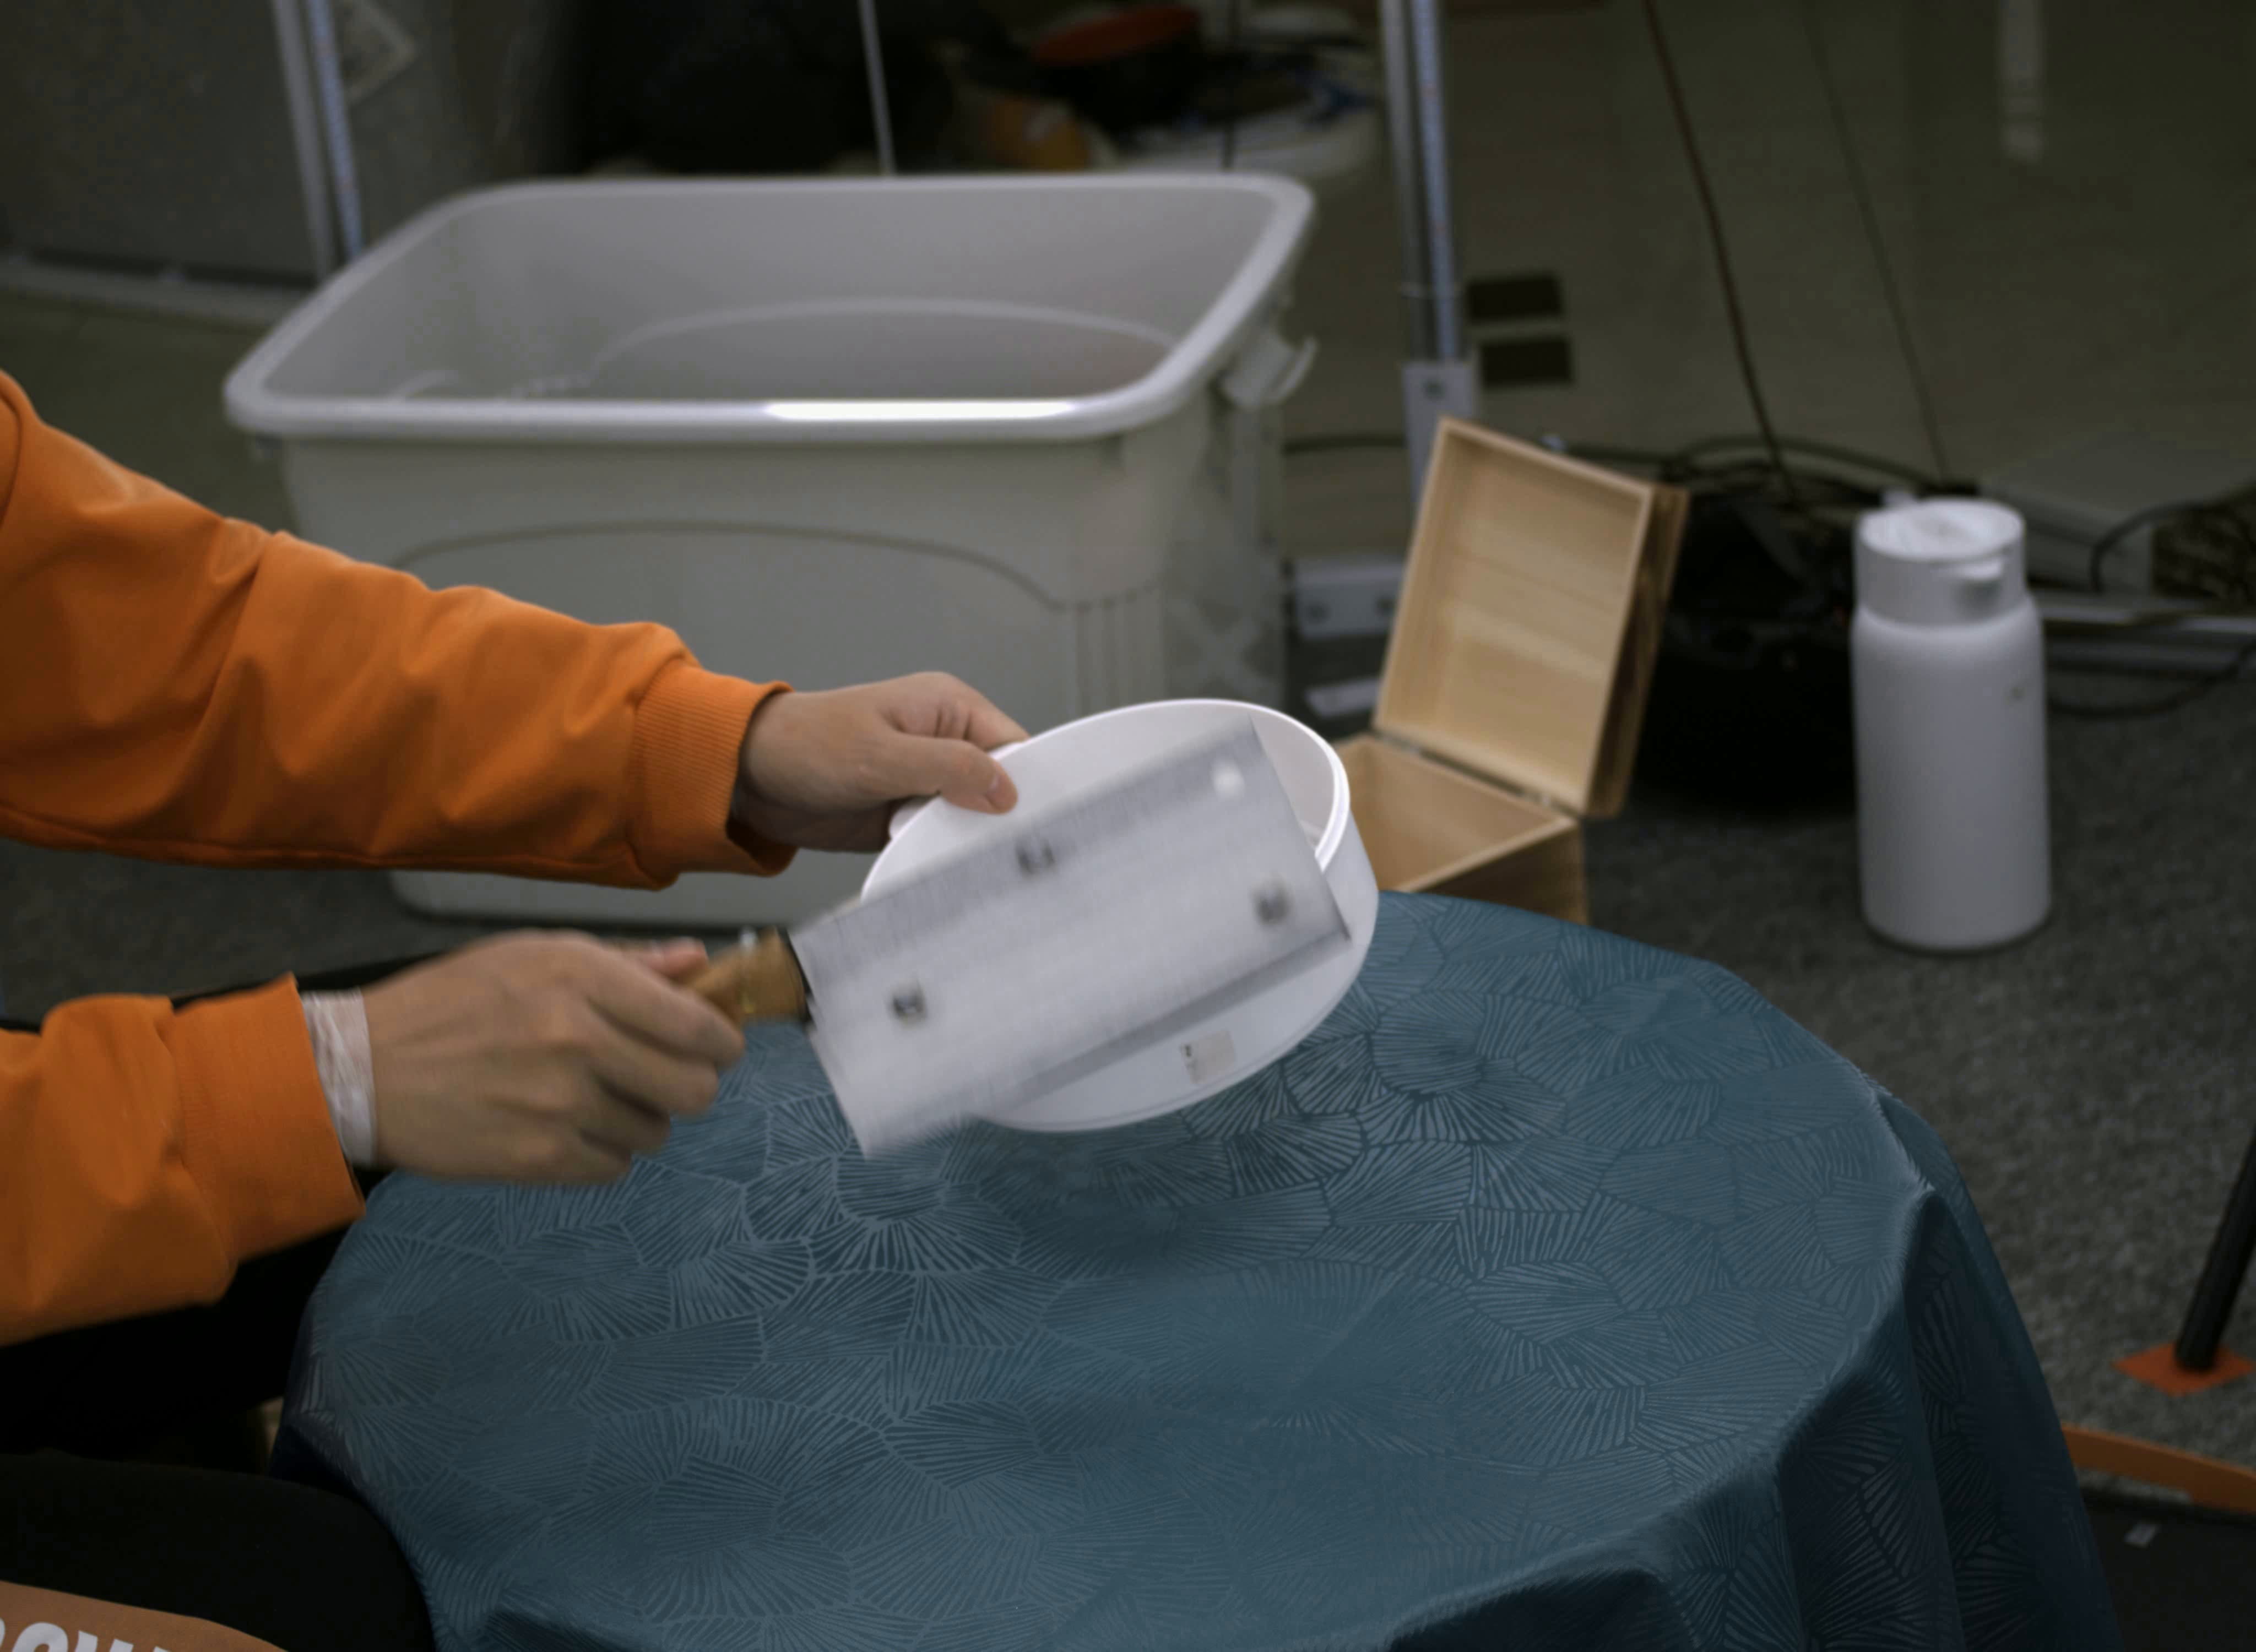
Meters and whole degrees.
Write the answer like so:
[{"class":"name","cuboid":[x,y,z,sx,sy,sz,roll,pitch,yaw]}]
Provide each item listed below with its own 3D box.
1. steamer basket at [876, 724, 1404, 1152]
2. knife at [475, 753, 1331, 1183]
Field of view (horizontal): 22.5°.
[{"class":"steamer basket","cuboid":[0.007,0.044,2.177,0.200,0.070,0.228,-35,36,-23]},{"class":"knife","cuboid":[-0.076,0.072,1.986,0.306,0.094,0.021,-24,20,5]}]
